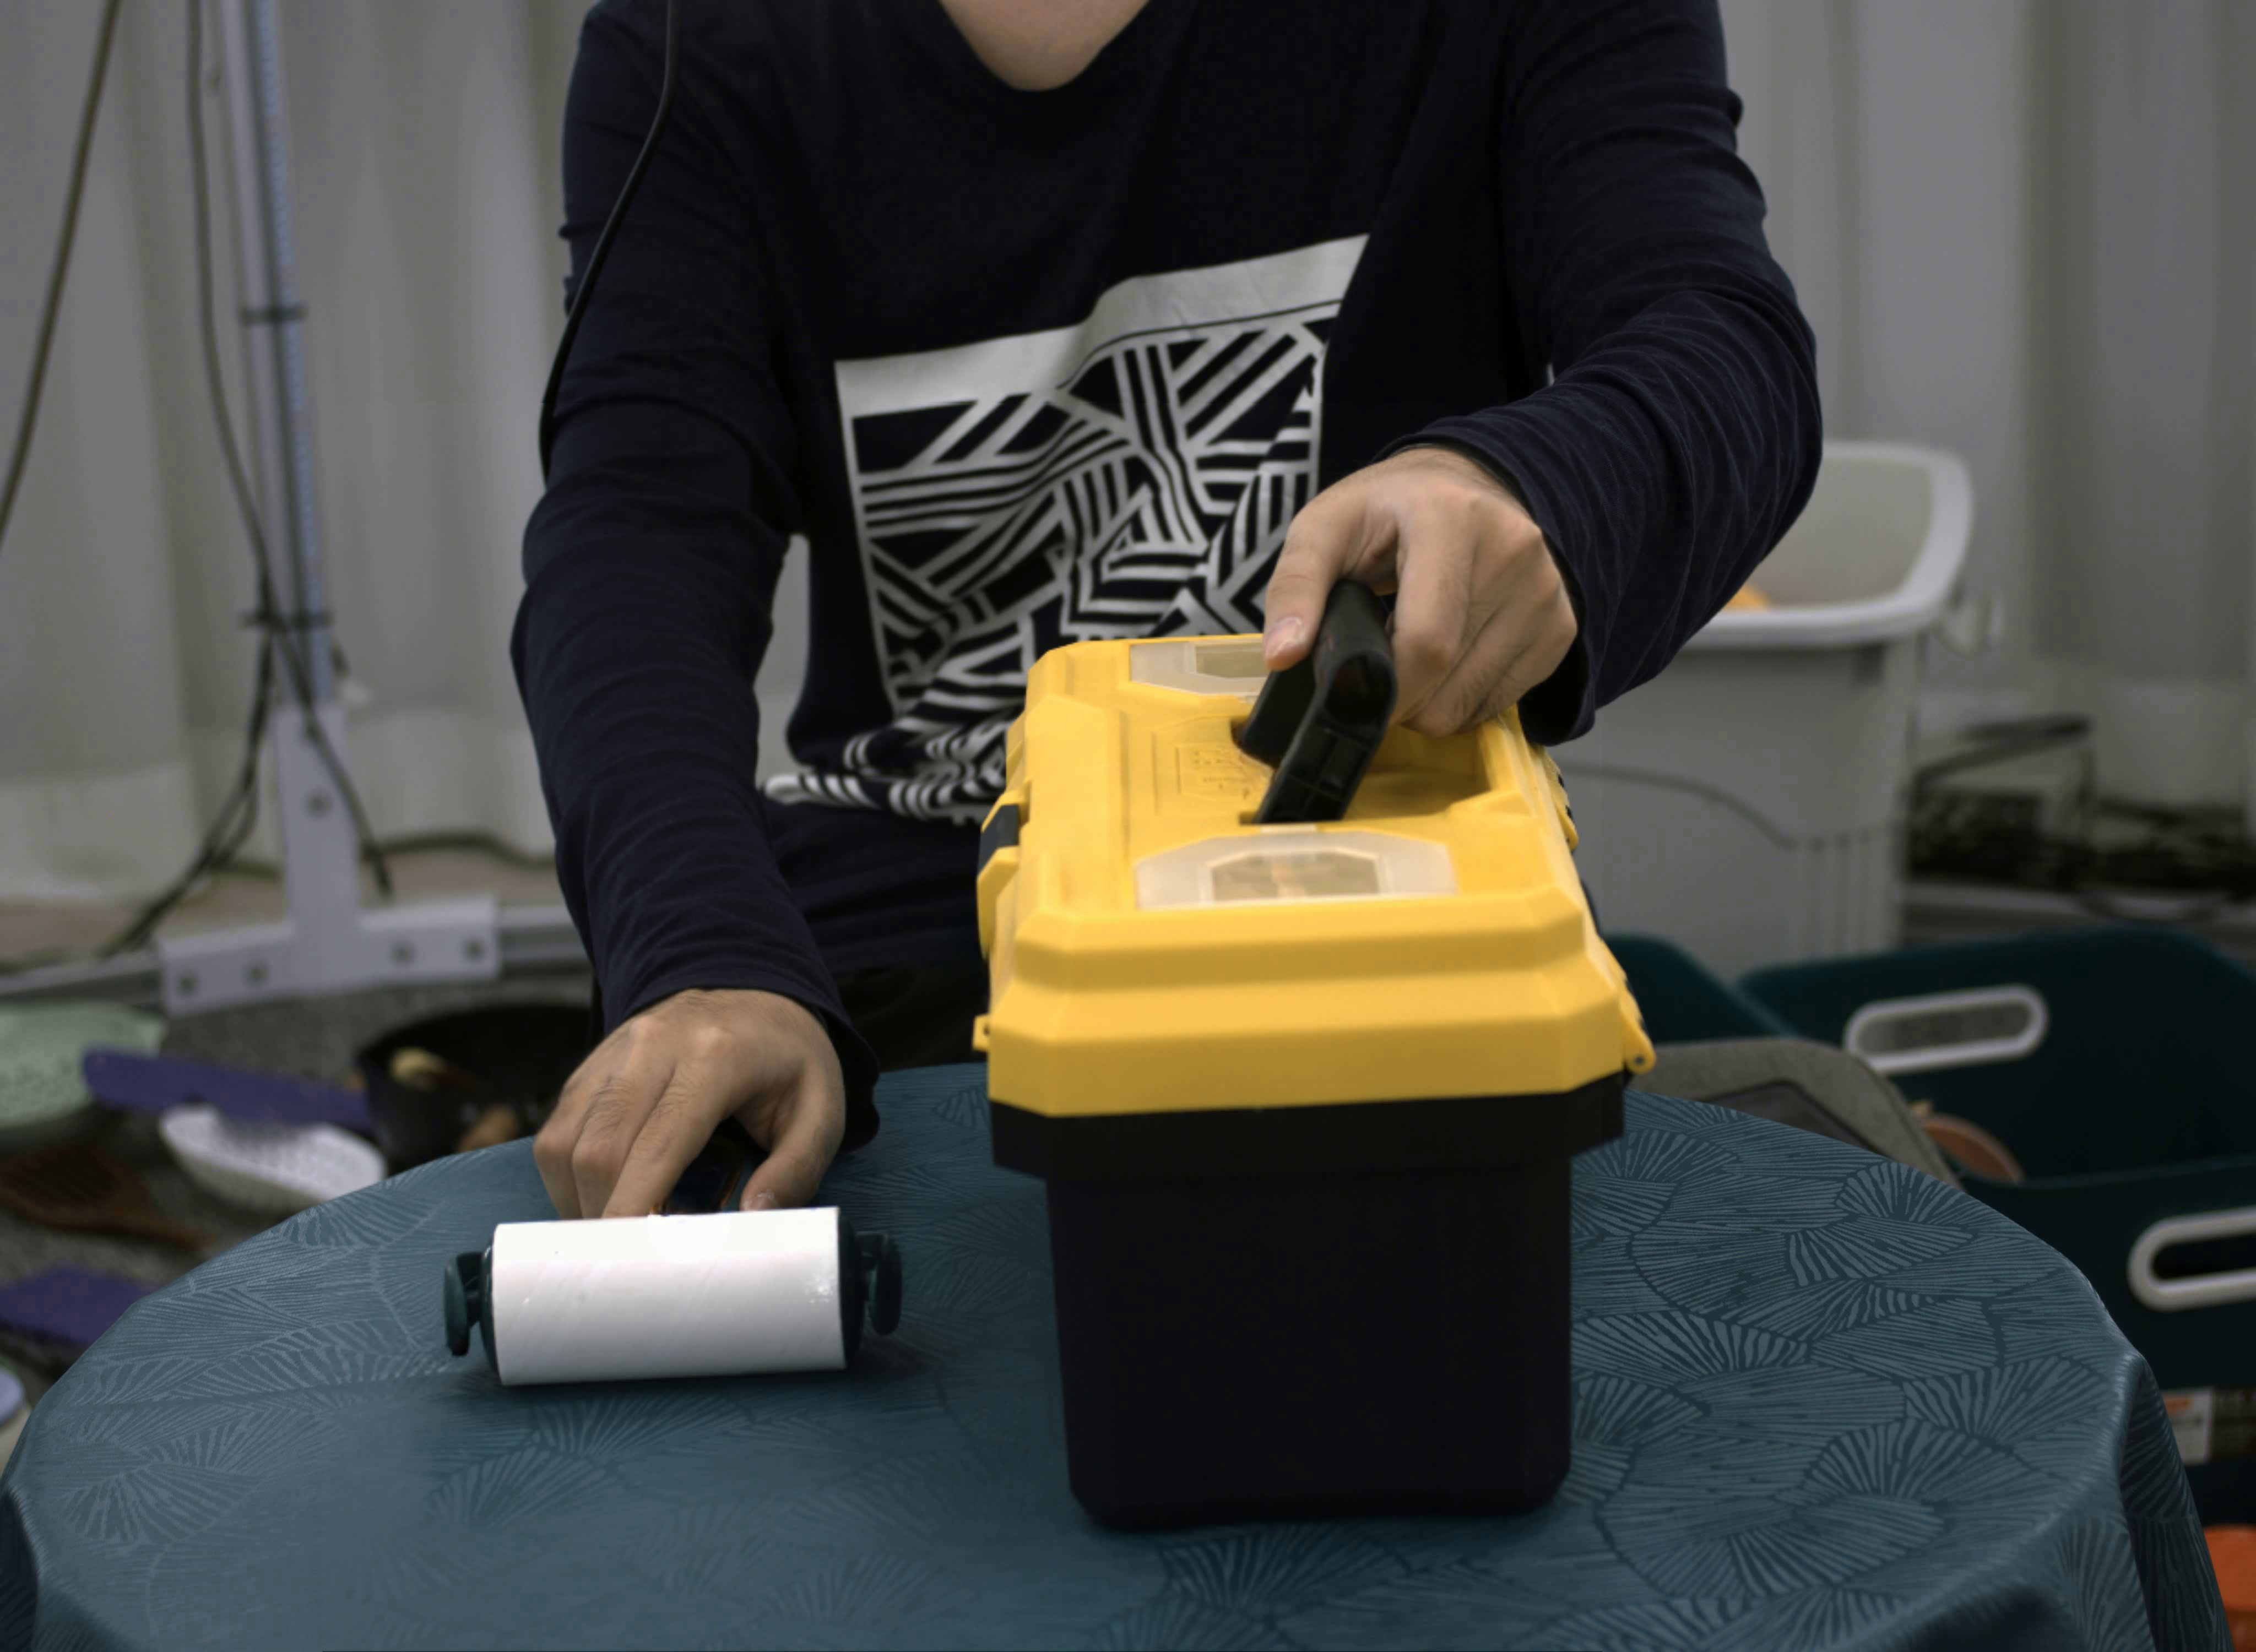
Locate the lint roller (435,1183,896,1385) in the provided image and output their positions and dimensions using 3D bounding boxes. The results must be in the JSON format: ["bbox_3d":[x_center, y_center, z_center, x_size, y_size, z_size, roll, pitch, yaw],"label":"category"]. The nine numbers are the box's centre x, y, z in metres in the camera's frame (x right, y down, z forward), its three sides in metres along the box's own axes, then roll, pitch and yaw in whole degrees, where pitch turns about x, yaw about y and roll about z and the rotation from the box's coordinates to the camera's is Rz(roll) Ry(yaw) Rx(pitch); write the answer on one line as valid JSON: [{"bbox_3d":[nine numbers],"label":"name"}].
[{"bbox_3d":[-0.134,0.118,1.637,0.134,0.048,0.181,-4,14,0],"label":"lint roller"}]

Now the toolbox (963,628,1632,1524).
[{"bbox_3d":[0.044,0.062,1.571,0.181,0.172,0.354,-2,14,0],"label":"toolbox"}]
